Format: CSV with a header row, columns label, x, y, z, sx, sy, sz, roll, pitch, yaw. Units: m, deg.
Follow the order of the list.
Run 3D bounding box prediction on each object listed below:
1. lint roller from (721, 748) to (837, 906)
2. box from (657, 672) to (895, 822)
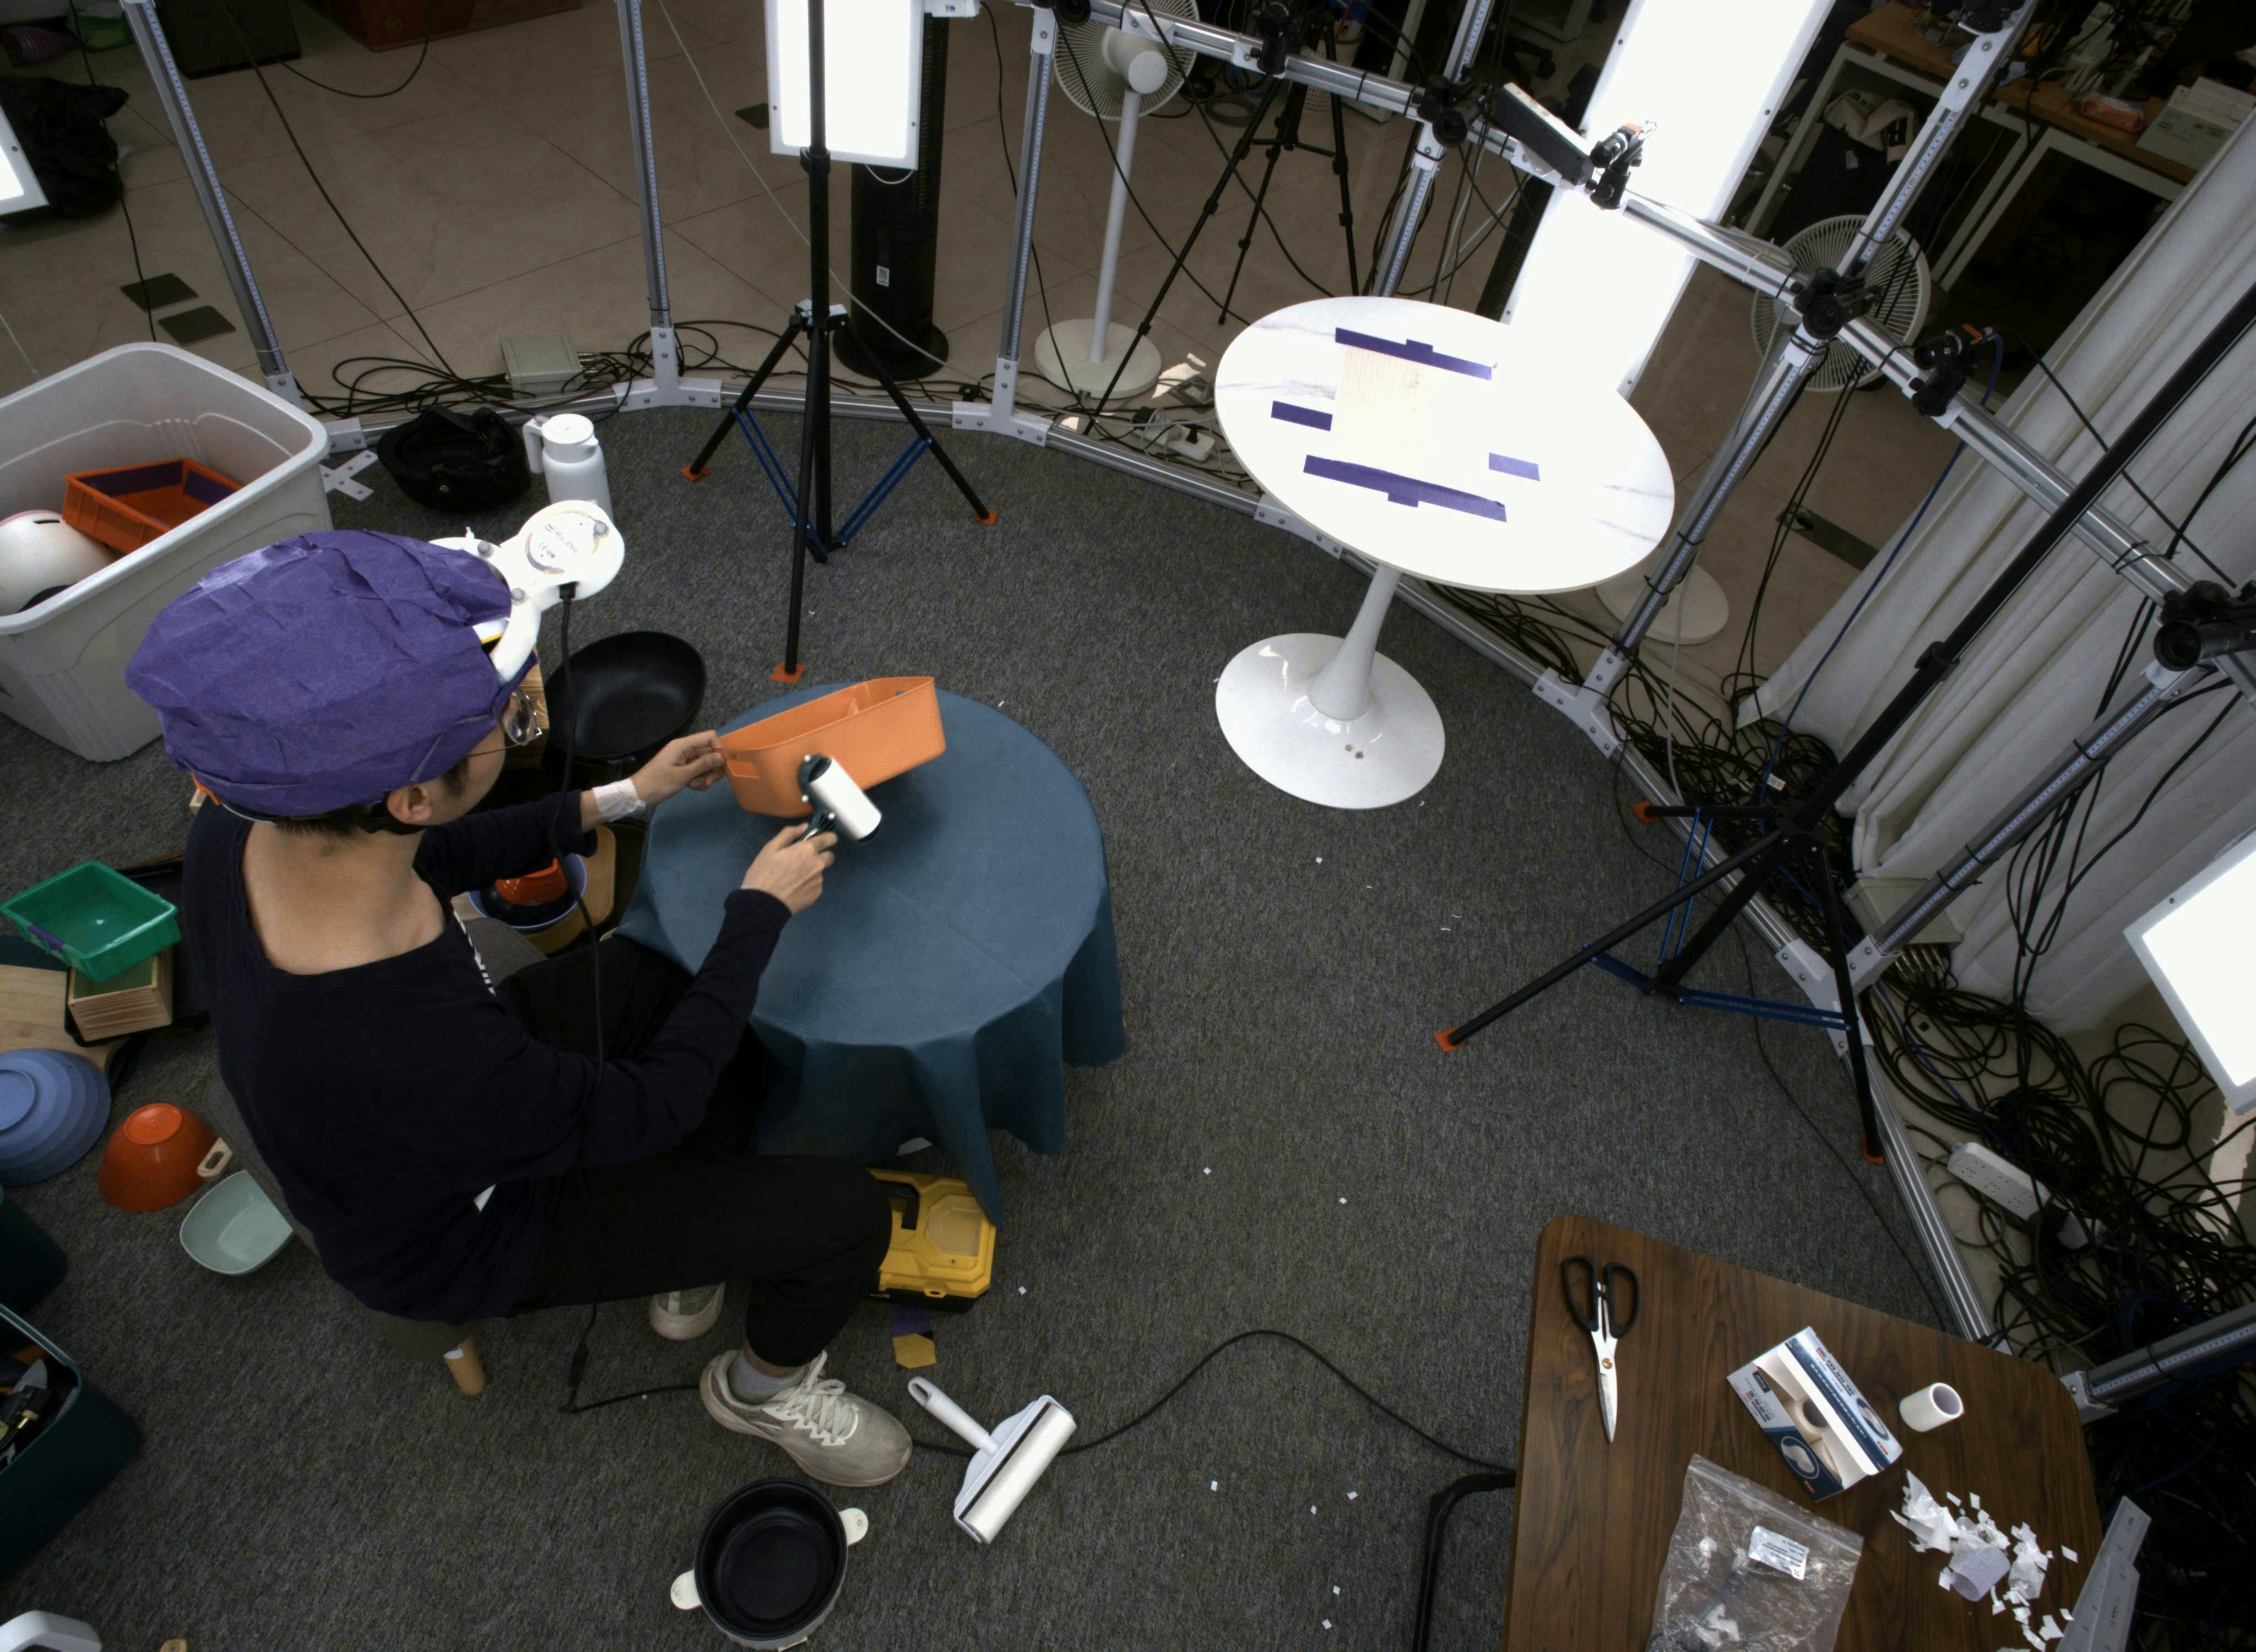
label,x,y,z,sx,sy,sz,roll,pitch,yaw
lint roller,-0.423,0.016,1.532,0.047,0.139,0.178,-7,46,33
box,-0.445,-0.101,1.671,0.193,0.105,0.274,2,26,46
